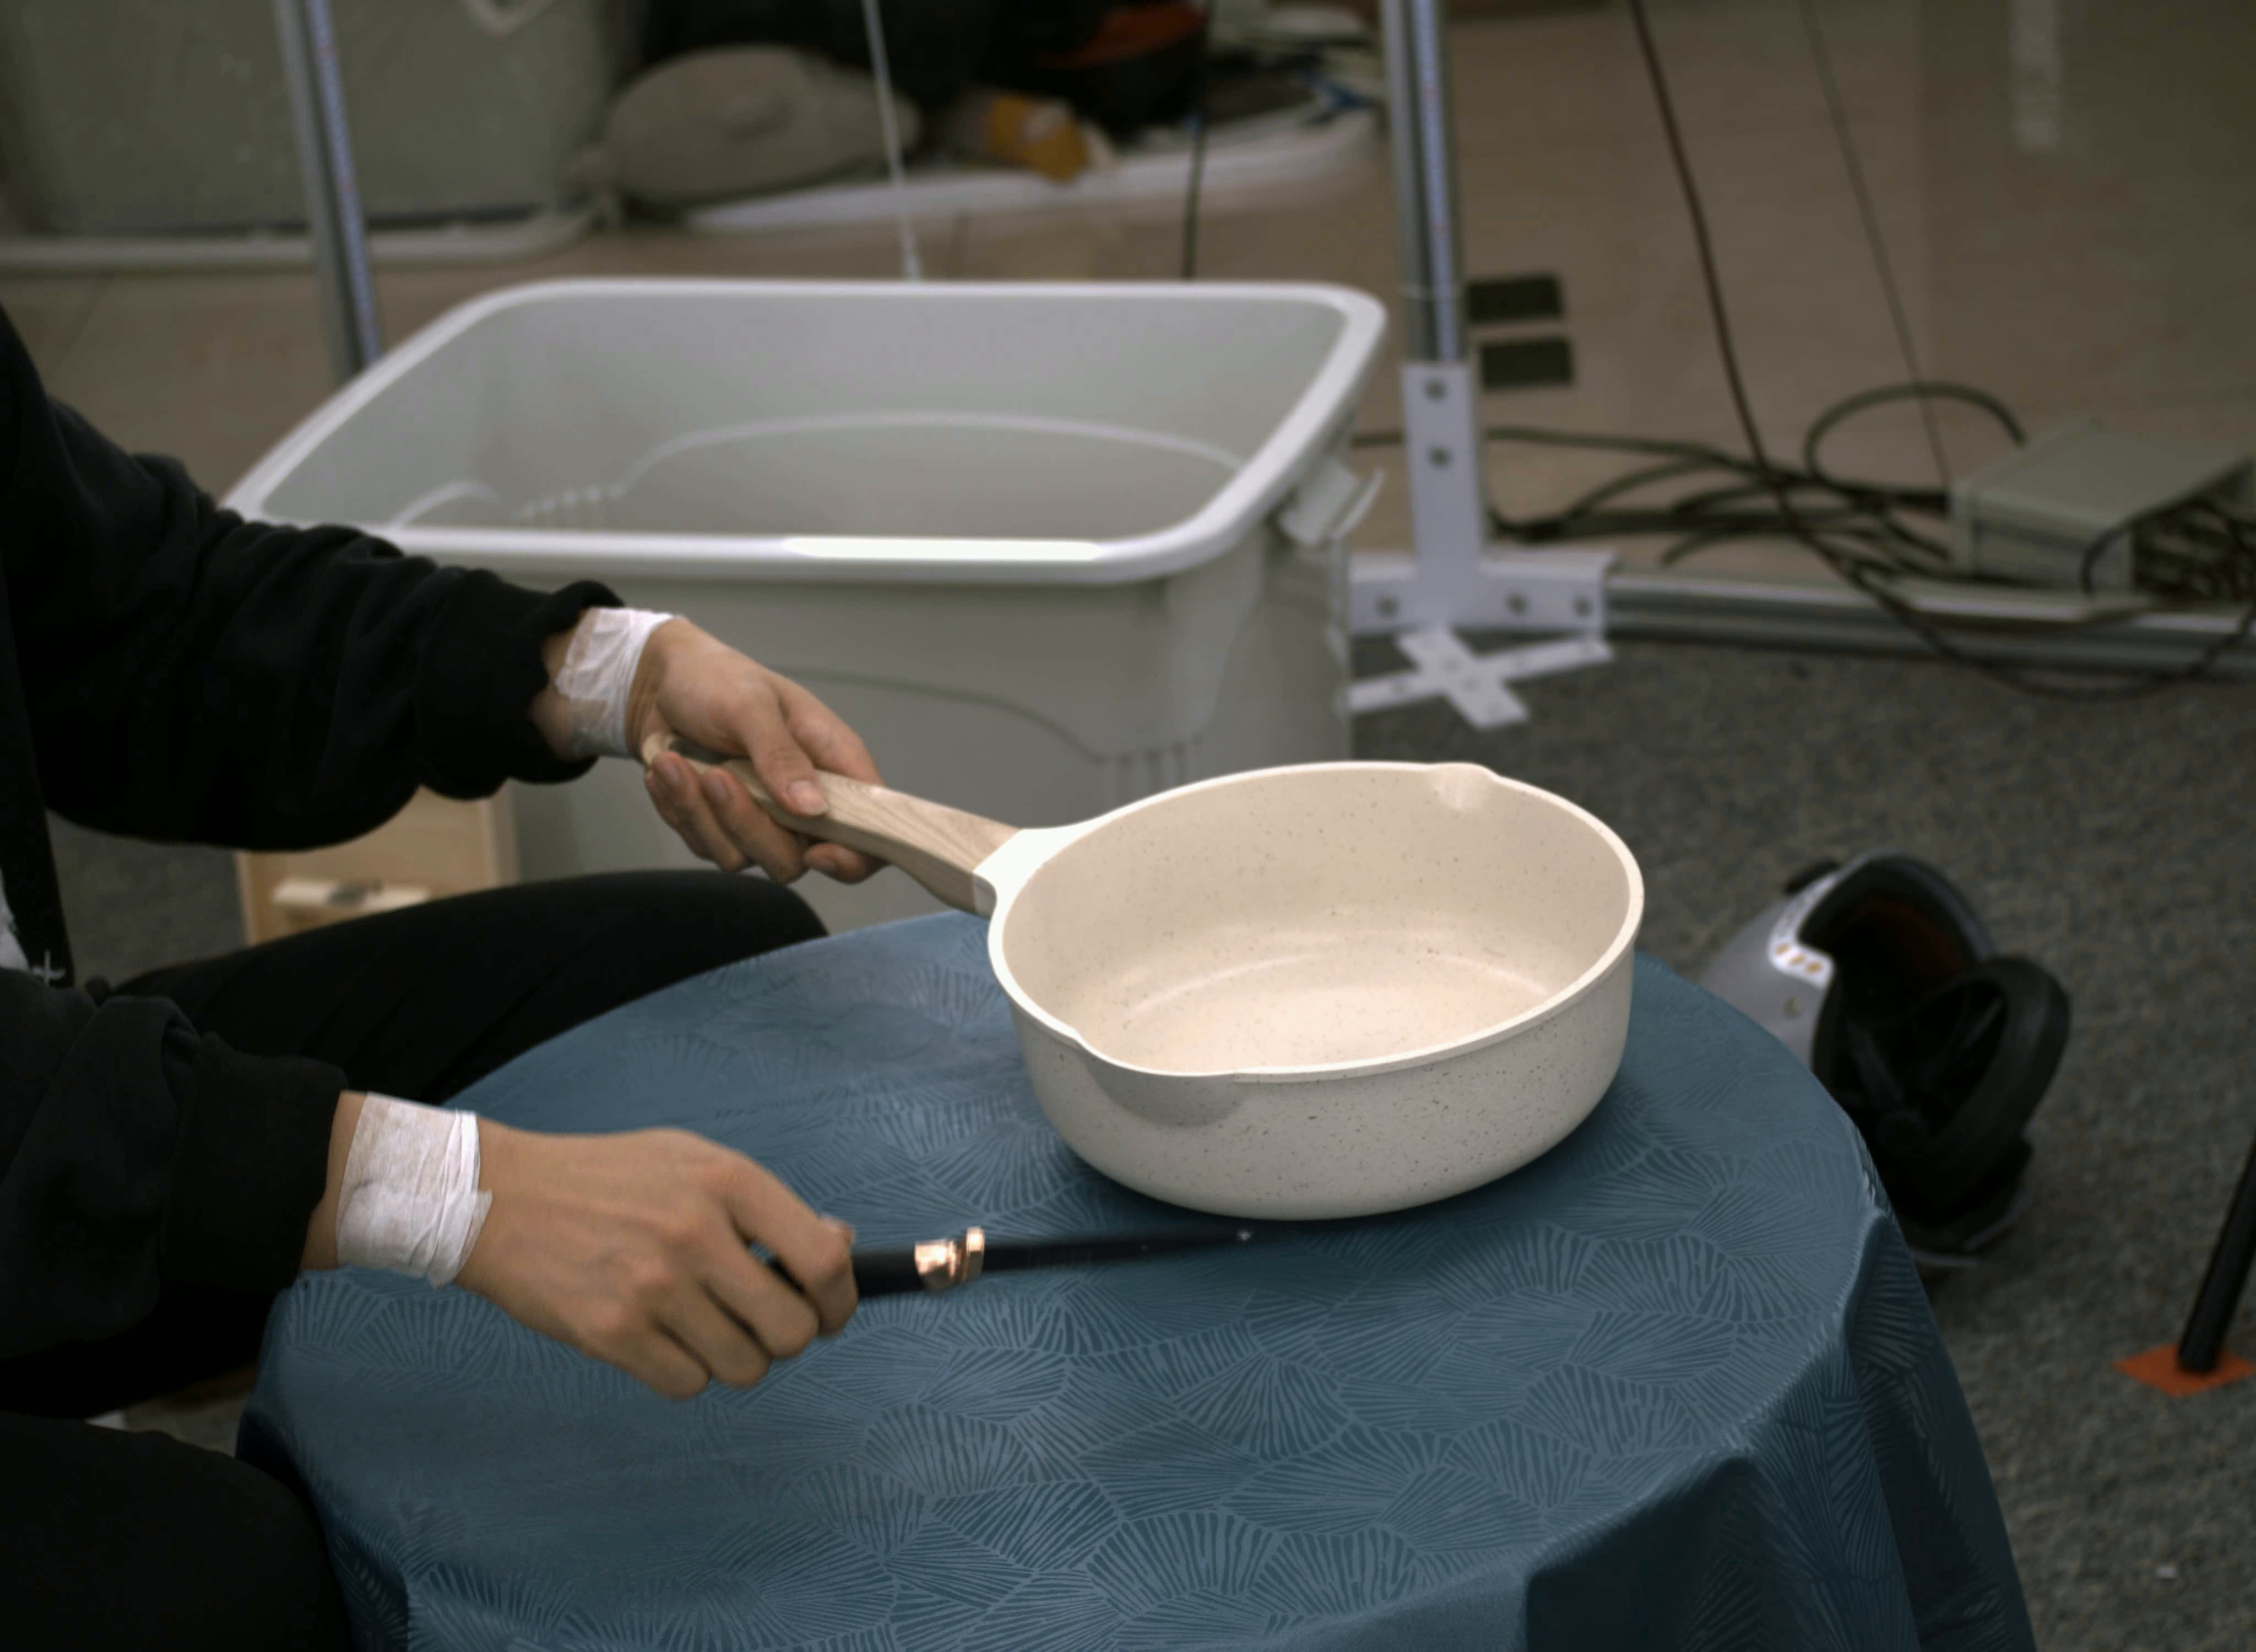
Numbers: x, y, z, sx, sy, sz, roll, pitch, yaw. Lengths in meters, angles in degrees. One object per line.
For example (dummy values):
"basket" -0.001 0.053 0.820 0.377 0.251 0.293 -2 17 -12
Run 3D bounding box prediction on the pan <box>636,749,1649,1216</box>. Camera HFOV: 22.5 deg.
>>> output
"pan" -0.003 0.045 2.222 0.433 0.104 0.260 10 33 29

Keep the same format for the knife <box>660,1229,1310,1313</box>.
"knife" -0.049 0.152 1.955 0.225 0.027 0.017 -3 50 -8
